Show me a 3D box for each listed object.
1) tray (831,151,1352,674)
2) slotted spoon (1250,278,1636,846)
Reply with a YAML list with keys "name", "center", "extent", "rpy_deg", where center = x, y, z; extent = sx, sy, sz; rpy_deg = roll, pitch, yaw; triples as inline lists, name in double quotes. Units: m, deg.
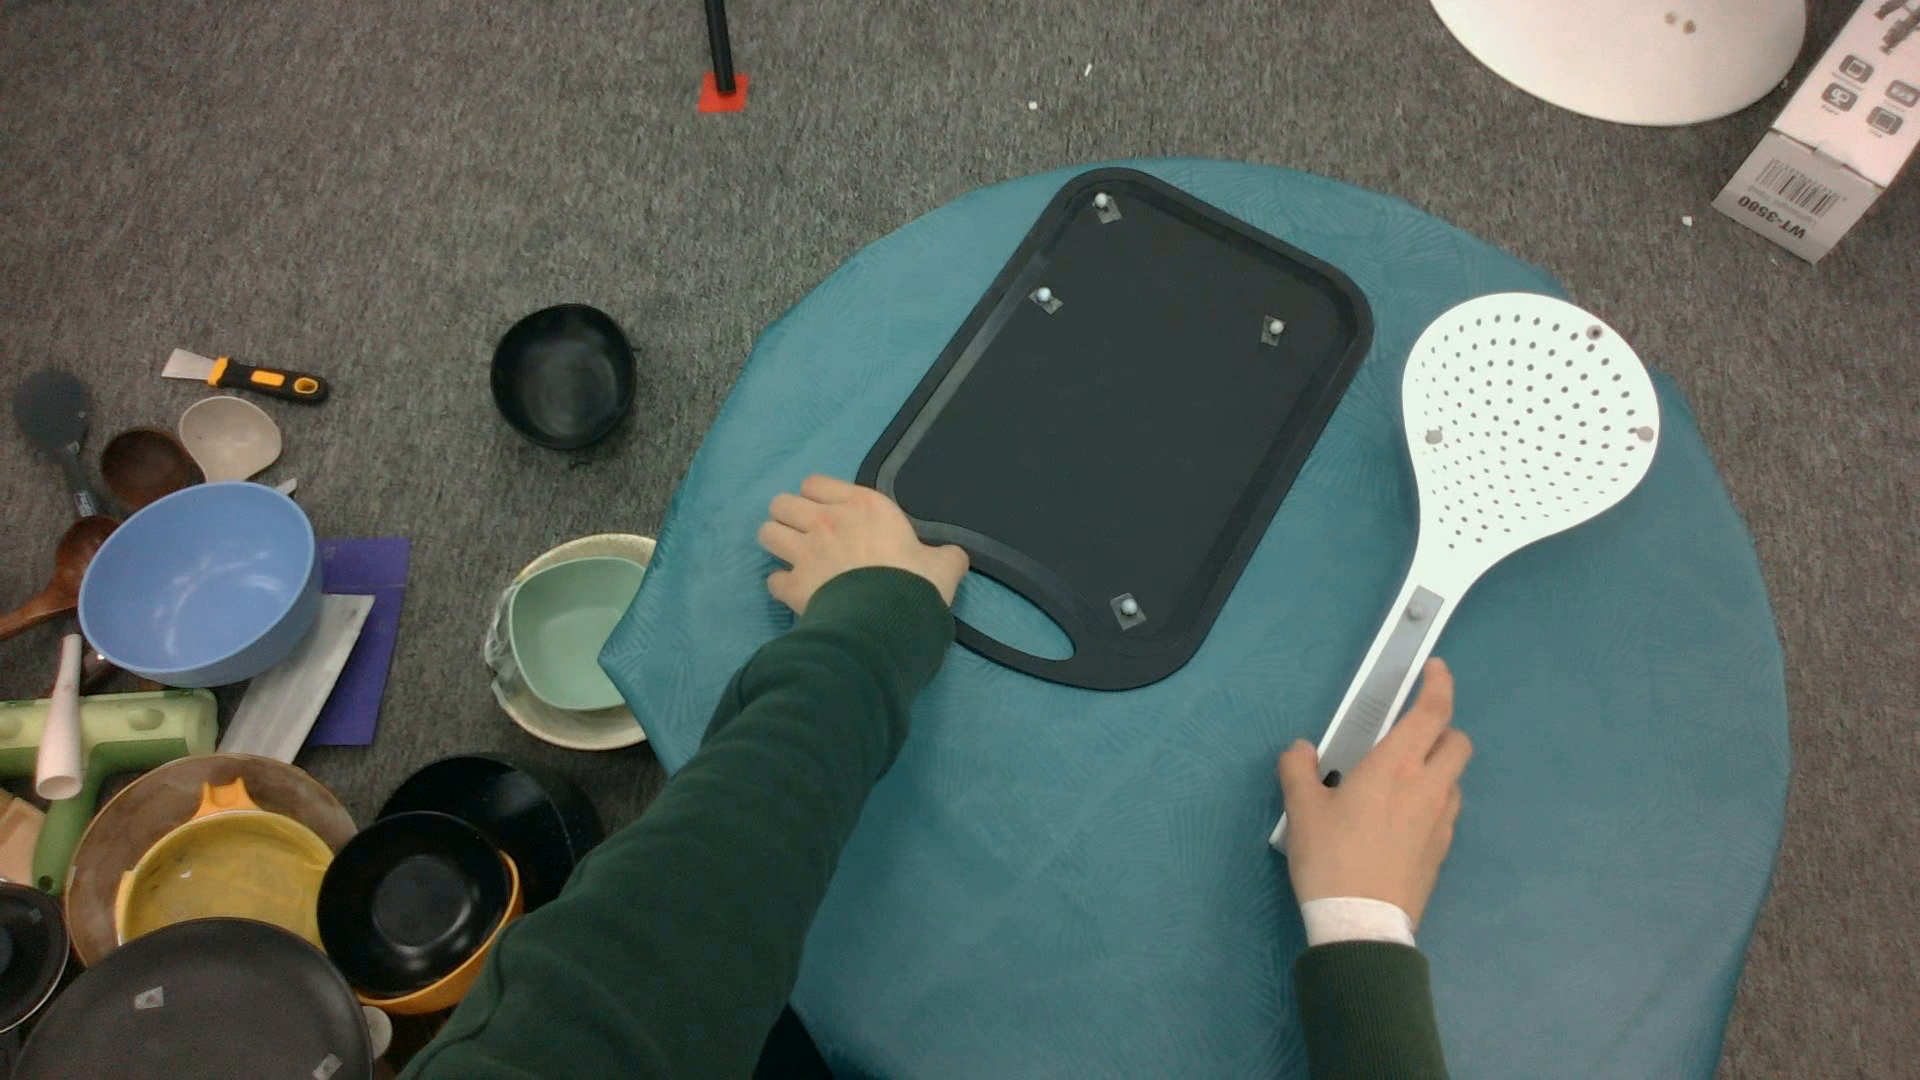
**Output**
- name: "tray"
  center: [0.077, -0.080, 0.775]
  extent: [0.211, 0.010, 0.326]
  rpy_deg: [30, 67, 10]
- name: "slotted spoon"
  center: [0.244, 0.005, 0.727]
  extent: [0.136, 0.045, 0.351]
  rpy_deg: [29, 68, 11]
